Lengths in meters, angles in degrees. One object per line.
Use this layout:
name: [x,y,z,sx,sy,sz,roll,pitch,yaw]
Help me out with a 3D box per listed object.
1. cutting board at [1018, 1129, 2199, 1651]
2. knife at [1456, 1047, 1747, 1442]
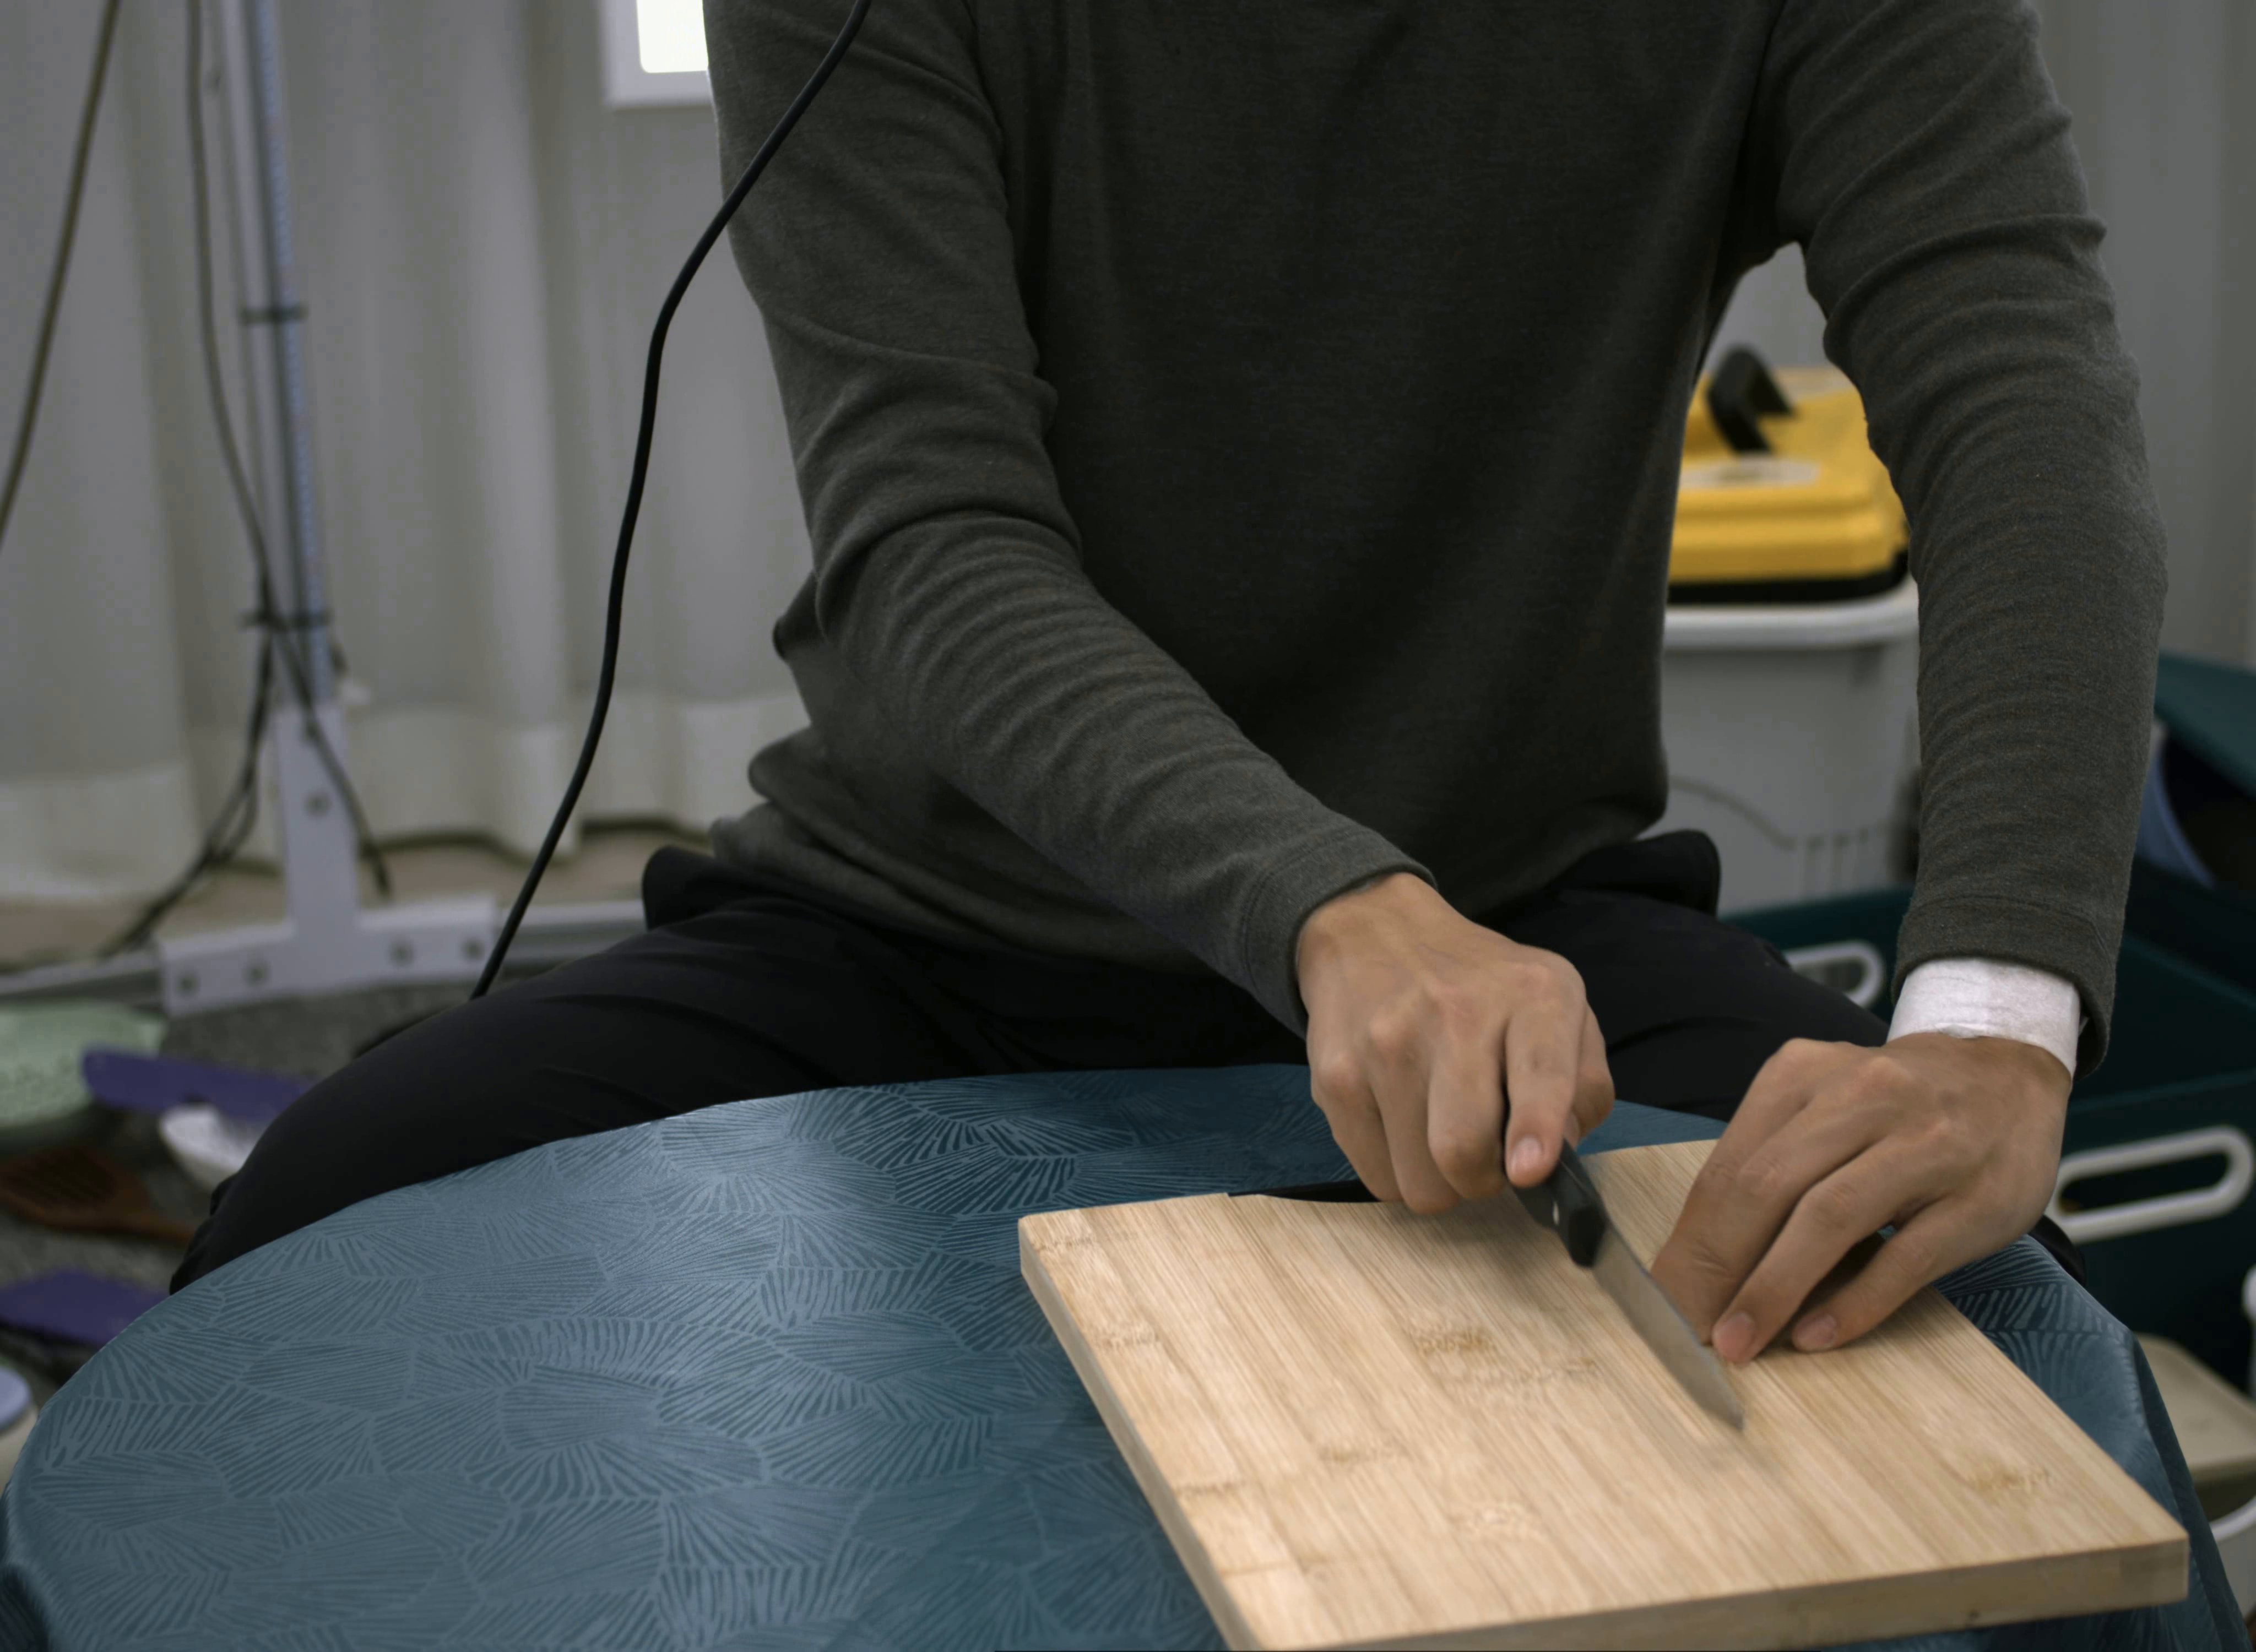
cutting board: [0.117,0.156,1.511,0.249,0.023,0.351,-5,15,-11]
knife: [0.131,0.112,1.511,0.016,0.024,0.241,-3,22,-13]
